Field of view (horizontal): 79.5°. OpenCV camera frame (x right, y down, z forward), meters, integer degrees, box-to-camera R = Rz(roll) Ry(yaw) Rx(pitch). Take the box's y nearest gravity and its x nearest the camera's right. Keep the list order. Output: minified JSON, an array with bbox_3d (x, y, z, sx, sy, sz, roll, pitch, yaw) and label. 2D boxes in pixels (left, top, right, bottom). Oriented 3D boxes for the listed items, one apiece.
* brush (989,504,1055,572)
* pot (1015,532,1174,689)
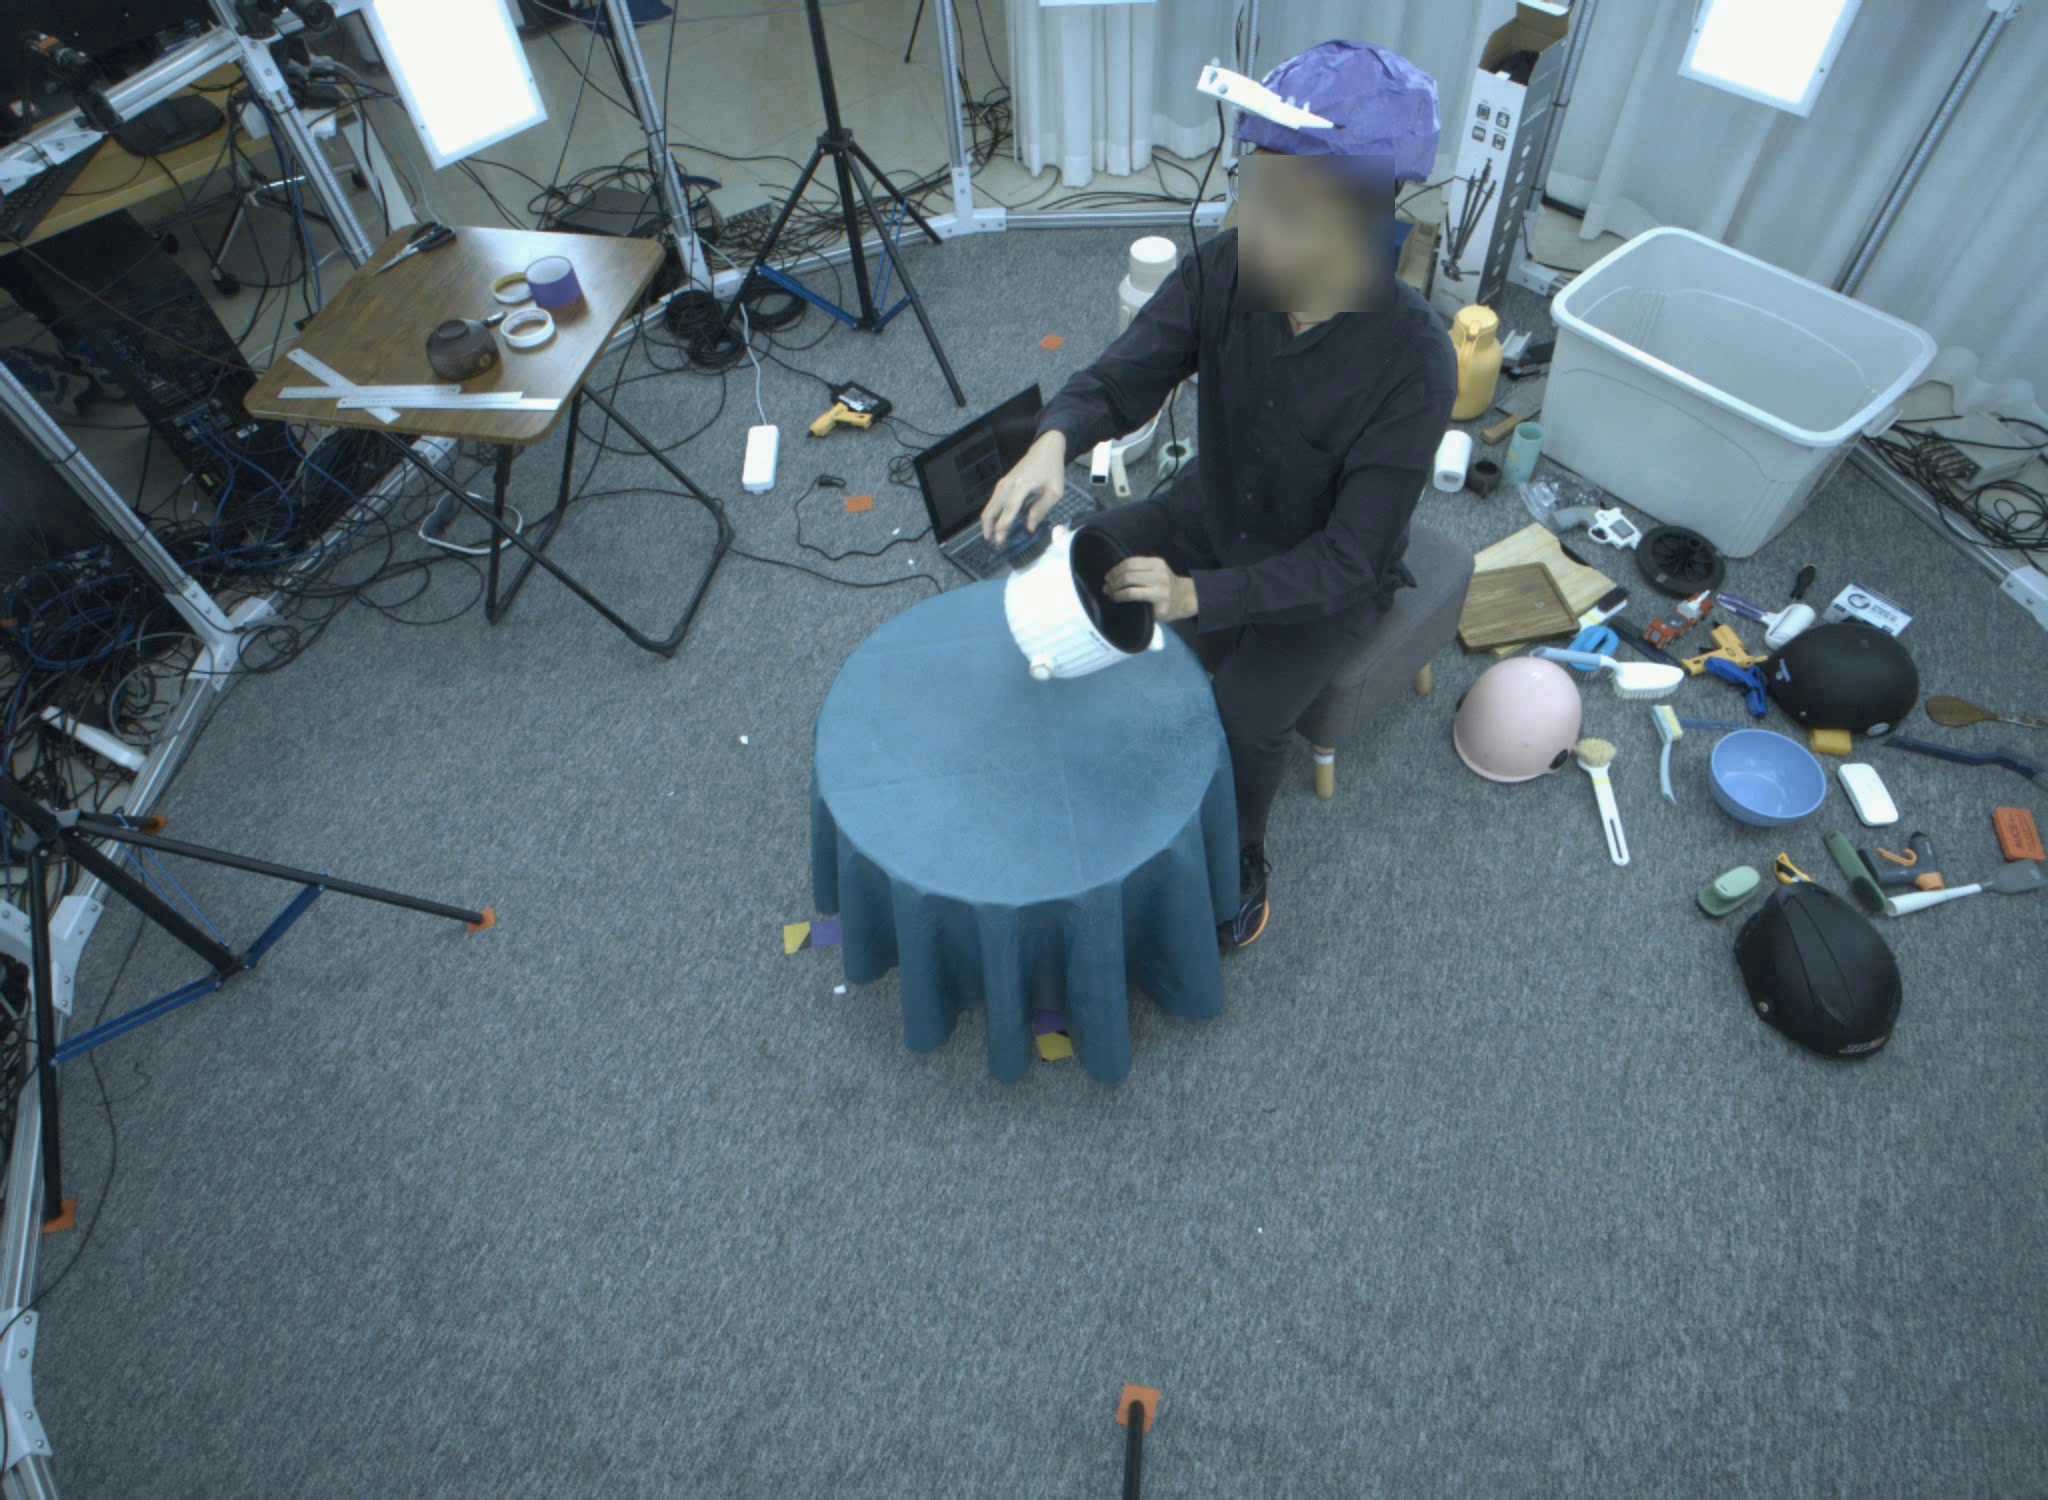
[{"bbox_3d":[-0.001,-0.281,1.631,0.067,0.062,0.121,-30,16,28],"label":"brush"},{"bbox_3d":[0.081,-0.175,1.635,0.140,0.246,0.189,-24,43,33],"label":"pot"}]
